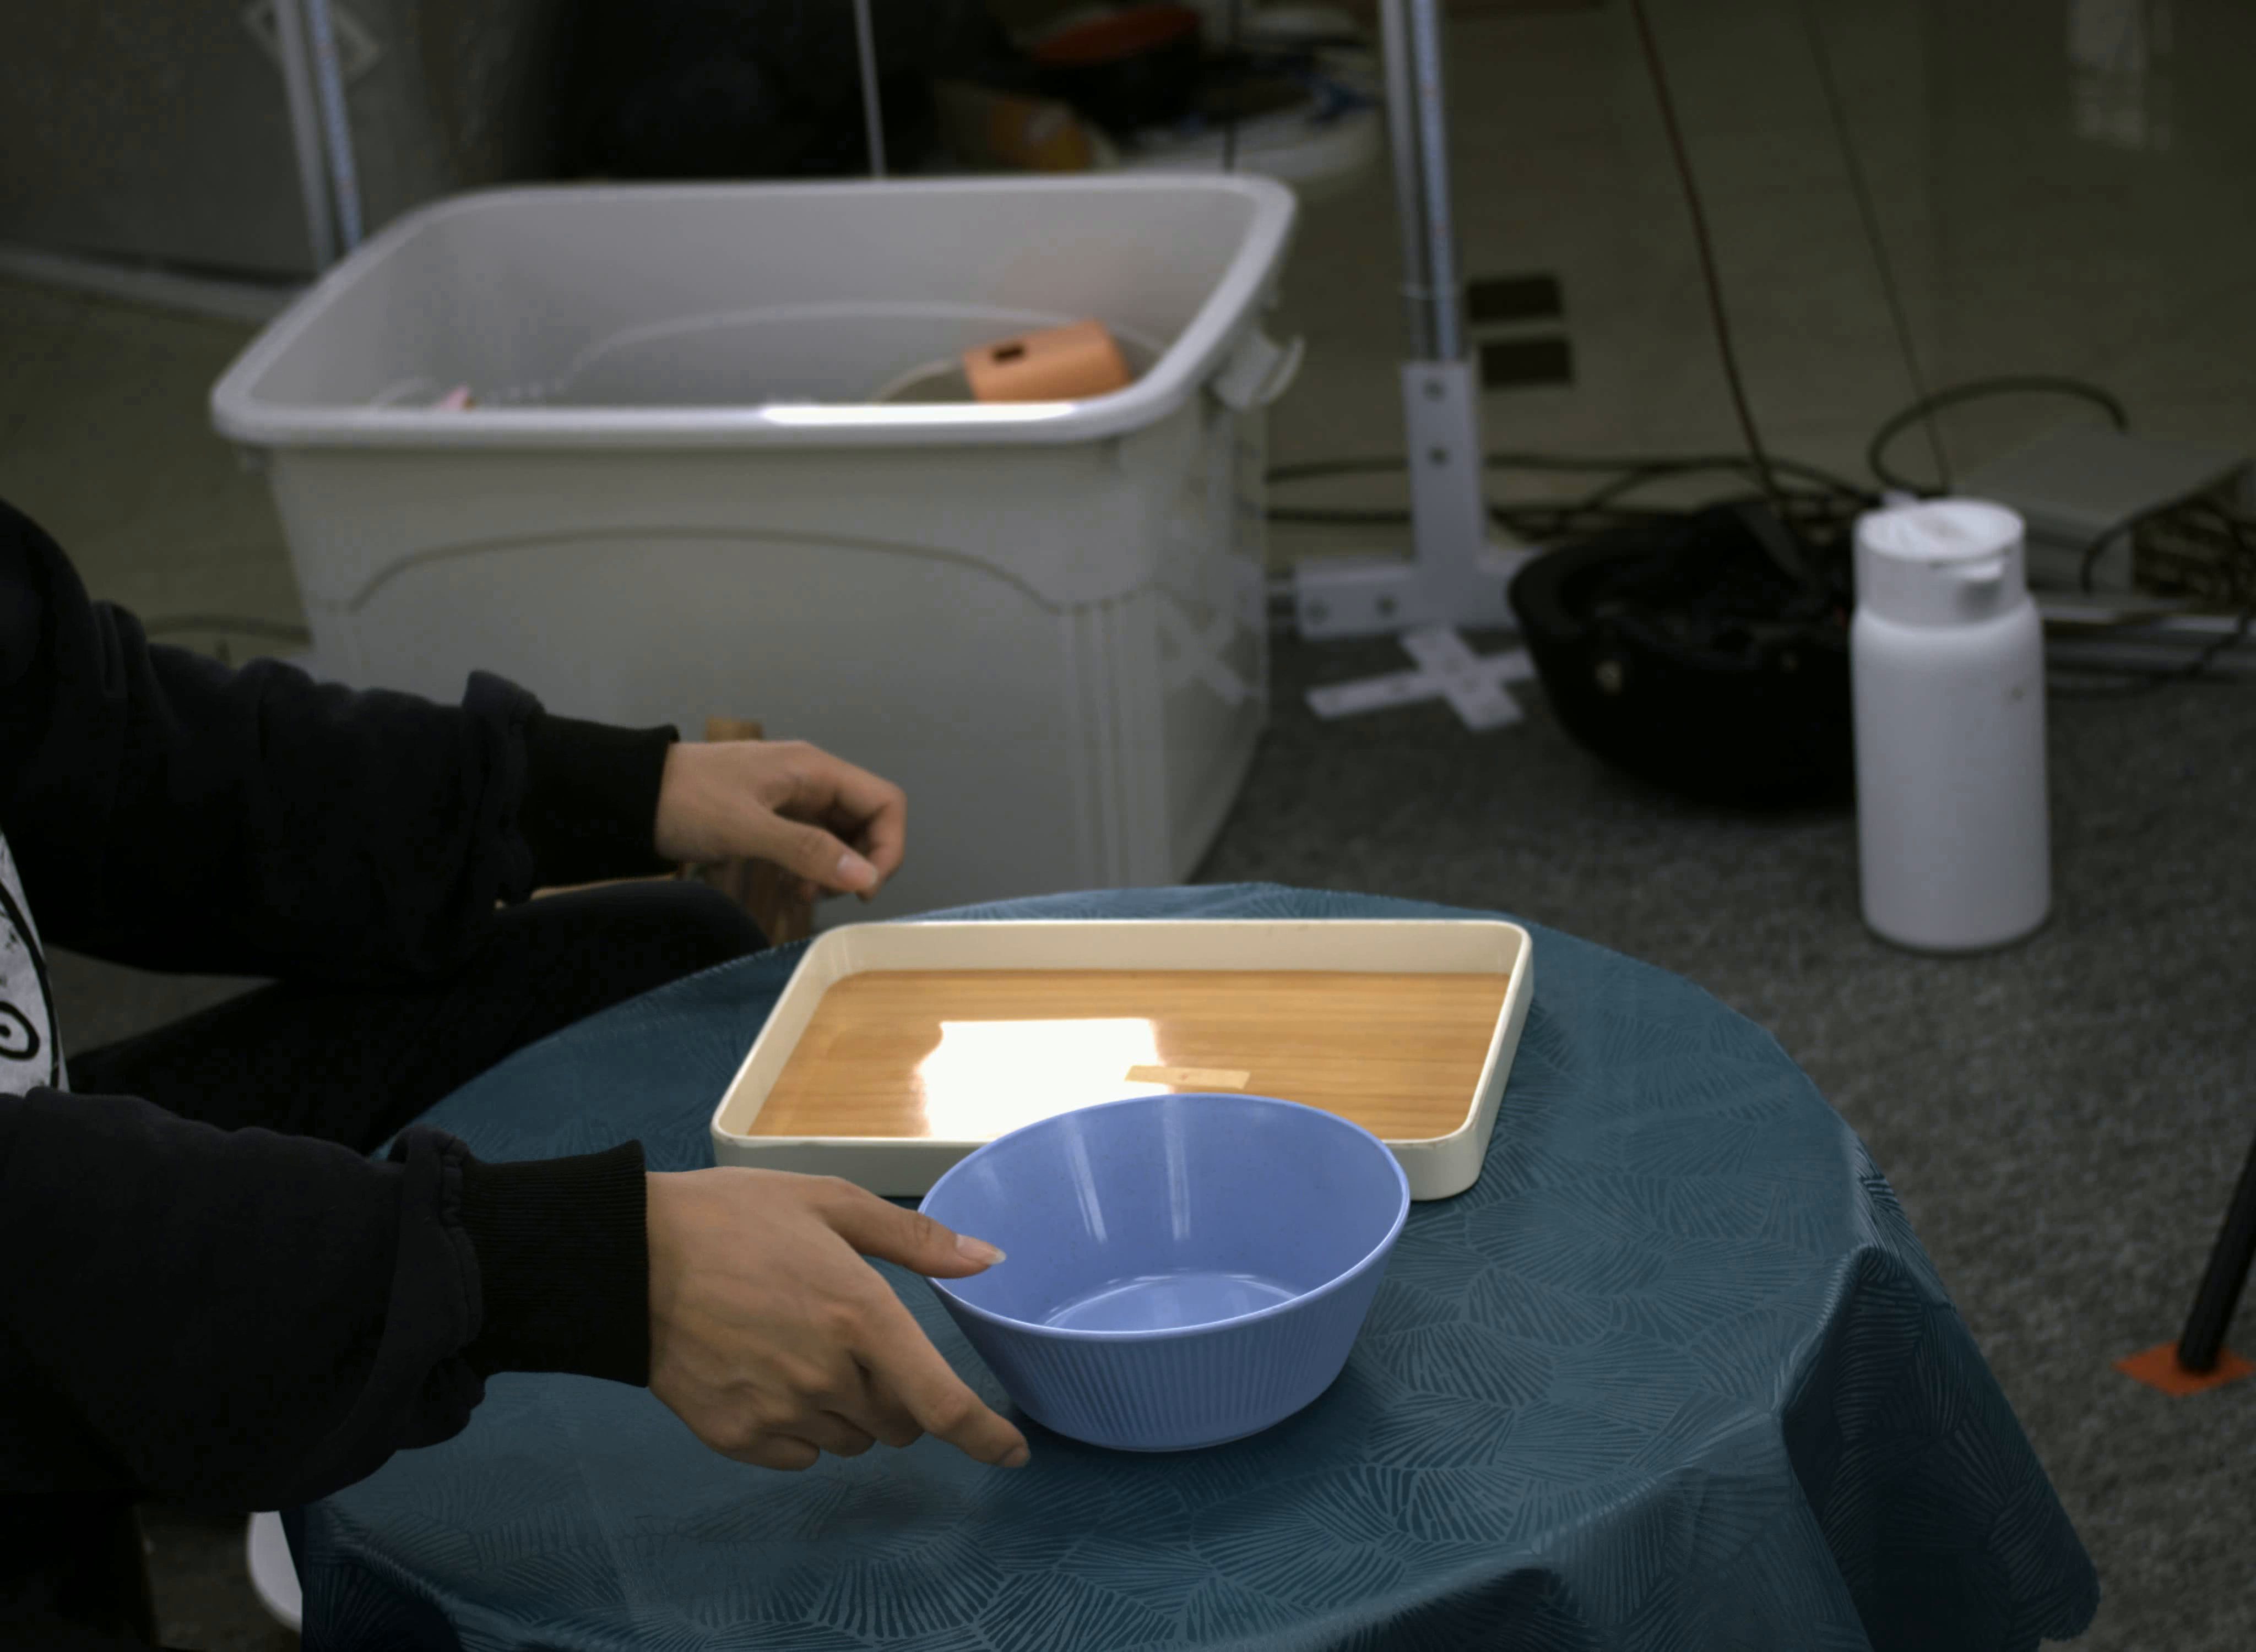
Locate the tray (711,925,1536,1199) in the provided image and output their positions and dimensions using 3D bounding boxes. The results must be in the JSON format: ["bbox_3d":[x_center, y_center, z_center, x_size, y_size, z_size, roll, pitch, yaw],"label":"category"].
[{"bbox_3d":[0.001,0.091,2.224,0.300,0.028,0.189,0,25,13],"label":"tray"}]

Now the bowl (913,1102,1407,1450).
[{"bbox_3d":[0.014,0.165,2.009,0.176,0.071,0.173,-5,24,2],"label":"bowl"}]
